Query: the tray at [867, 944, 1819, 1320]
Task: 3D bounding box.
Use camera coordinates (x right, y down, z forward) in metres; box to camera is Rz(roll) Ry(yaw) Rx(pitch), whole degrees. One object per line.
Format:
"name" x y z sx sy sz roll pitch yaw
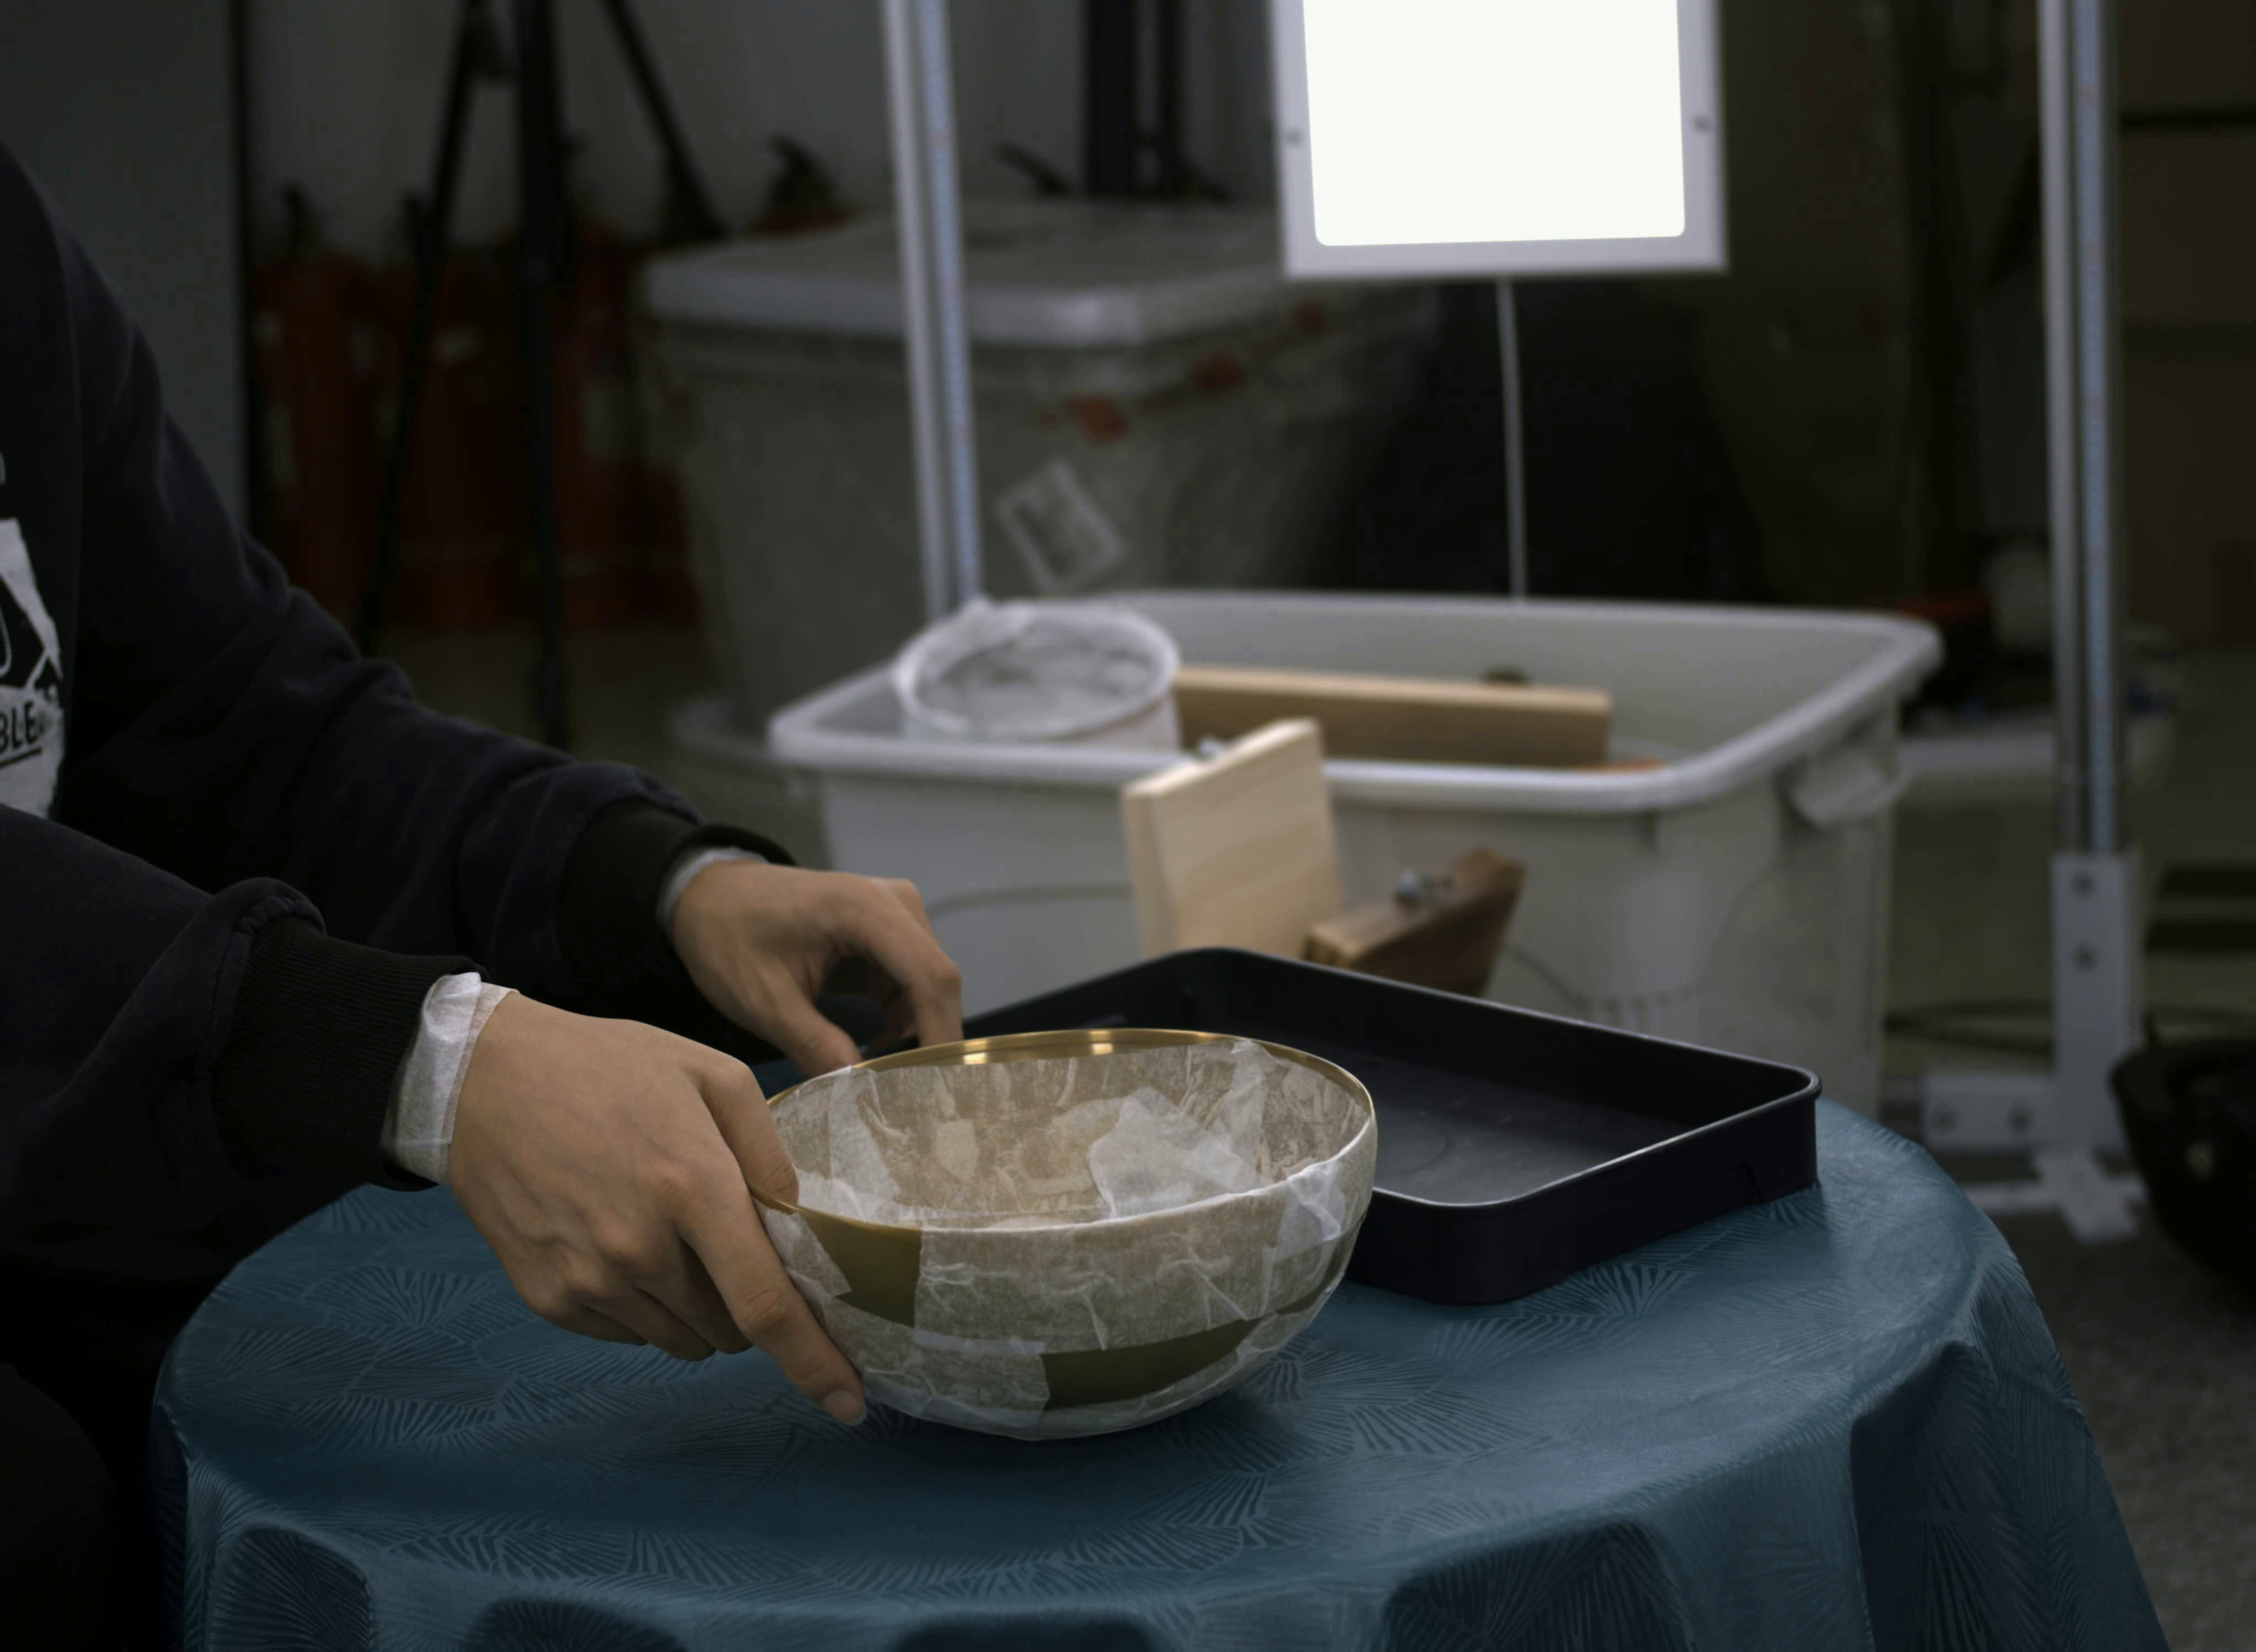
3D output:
"tray" 0.070 0.101 1.908 0.179 0.037 0.324 -15 18 -37

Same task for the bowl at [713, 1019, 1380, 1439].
"bowl" -0.021 0.131 1.691 0.214 0.095 0.214 -5 15 0
